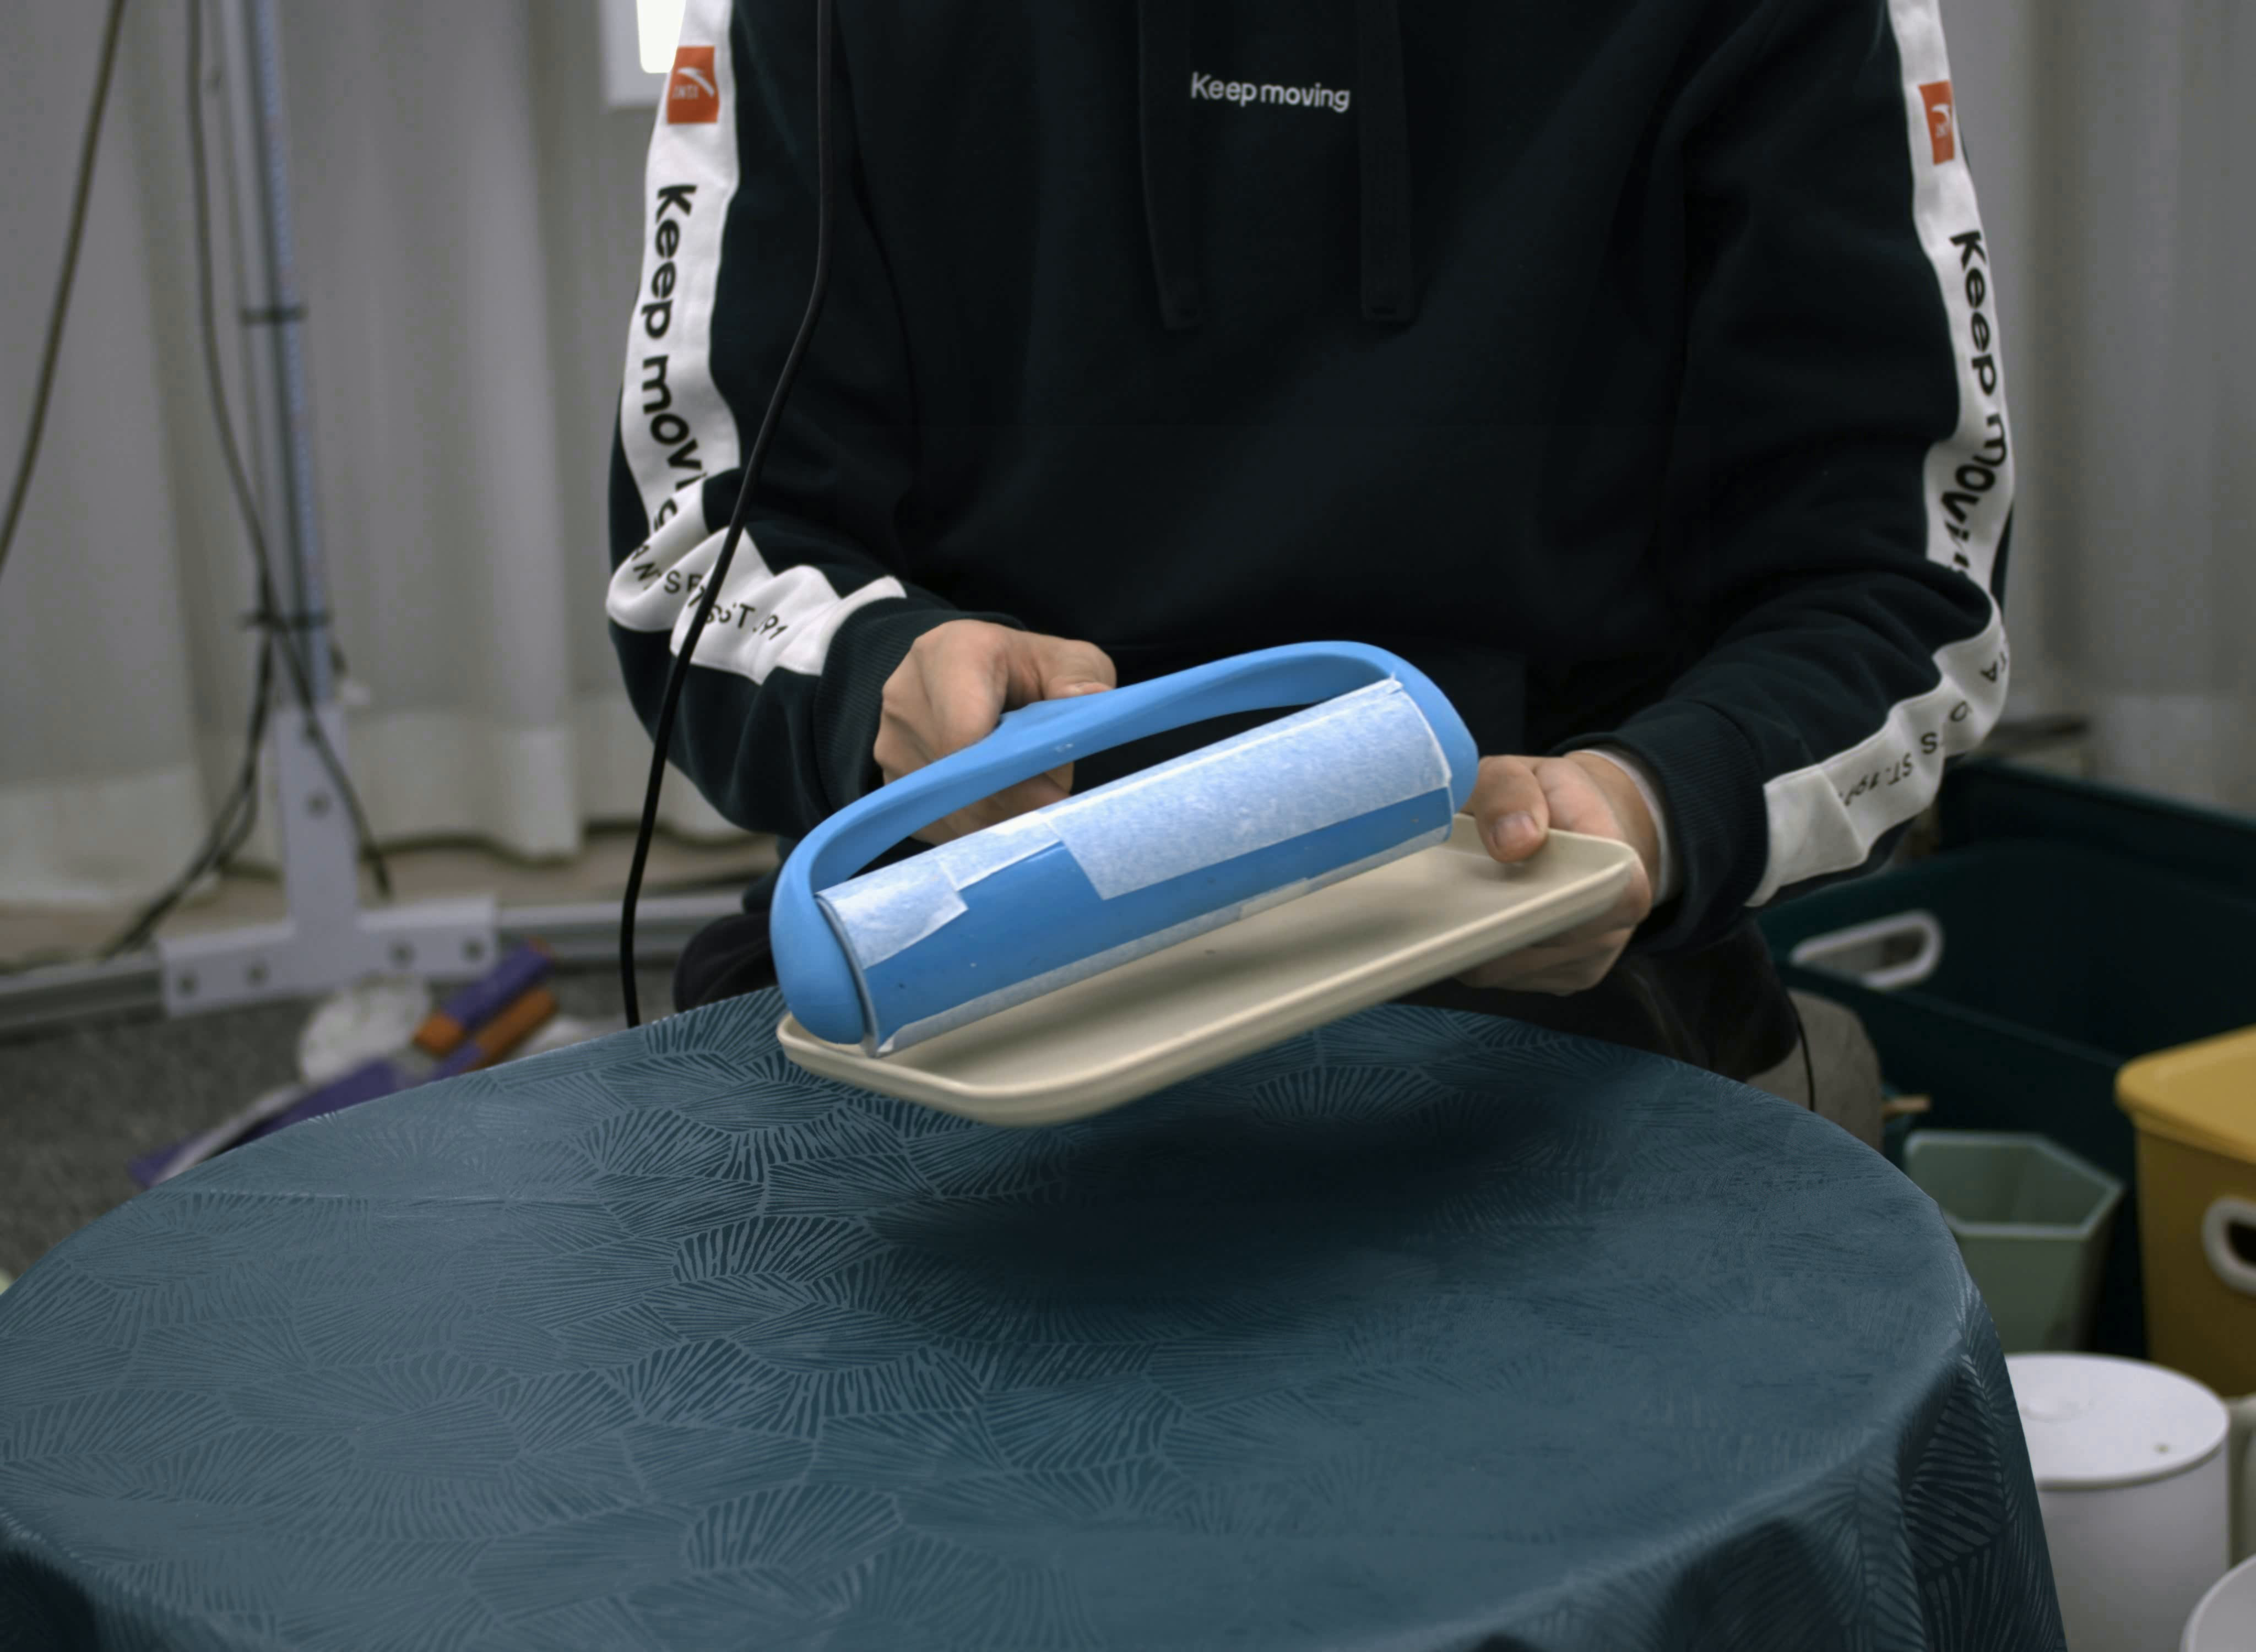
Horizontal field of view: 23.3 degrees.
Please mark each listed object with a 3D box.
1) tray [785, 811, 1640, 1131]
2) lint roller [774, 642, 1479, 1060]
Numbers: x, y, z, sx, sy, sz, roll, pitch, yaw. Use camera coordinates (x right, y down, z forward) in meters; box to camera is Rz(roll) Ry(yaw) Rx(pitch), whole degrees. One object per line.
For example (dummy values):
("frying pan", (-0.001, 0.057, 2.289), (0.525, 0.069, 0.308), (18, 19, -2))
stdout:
("tray", (0.027, 0.042, 1.671), (0.239, 0.017, 0.172), (-20, 16, -28))
("lint roller", (-0.021, -0.005, 1.709), (0.228, 0.067, 0.182), (-23, 25, -16))
